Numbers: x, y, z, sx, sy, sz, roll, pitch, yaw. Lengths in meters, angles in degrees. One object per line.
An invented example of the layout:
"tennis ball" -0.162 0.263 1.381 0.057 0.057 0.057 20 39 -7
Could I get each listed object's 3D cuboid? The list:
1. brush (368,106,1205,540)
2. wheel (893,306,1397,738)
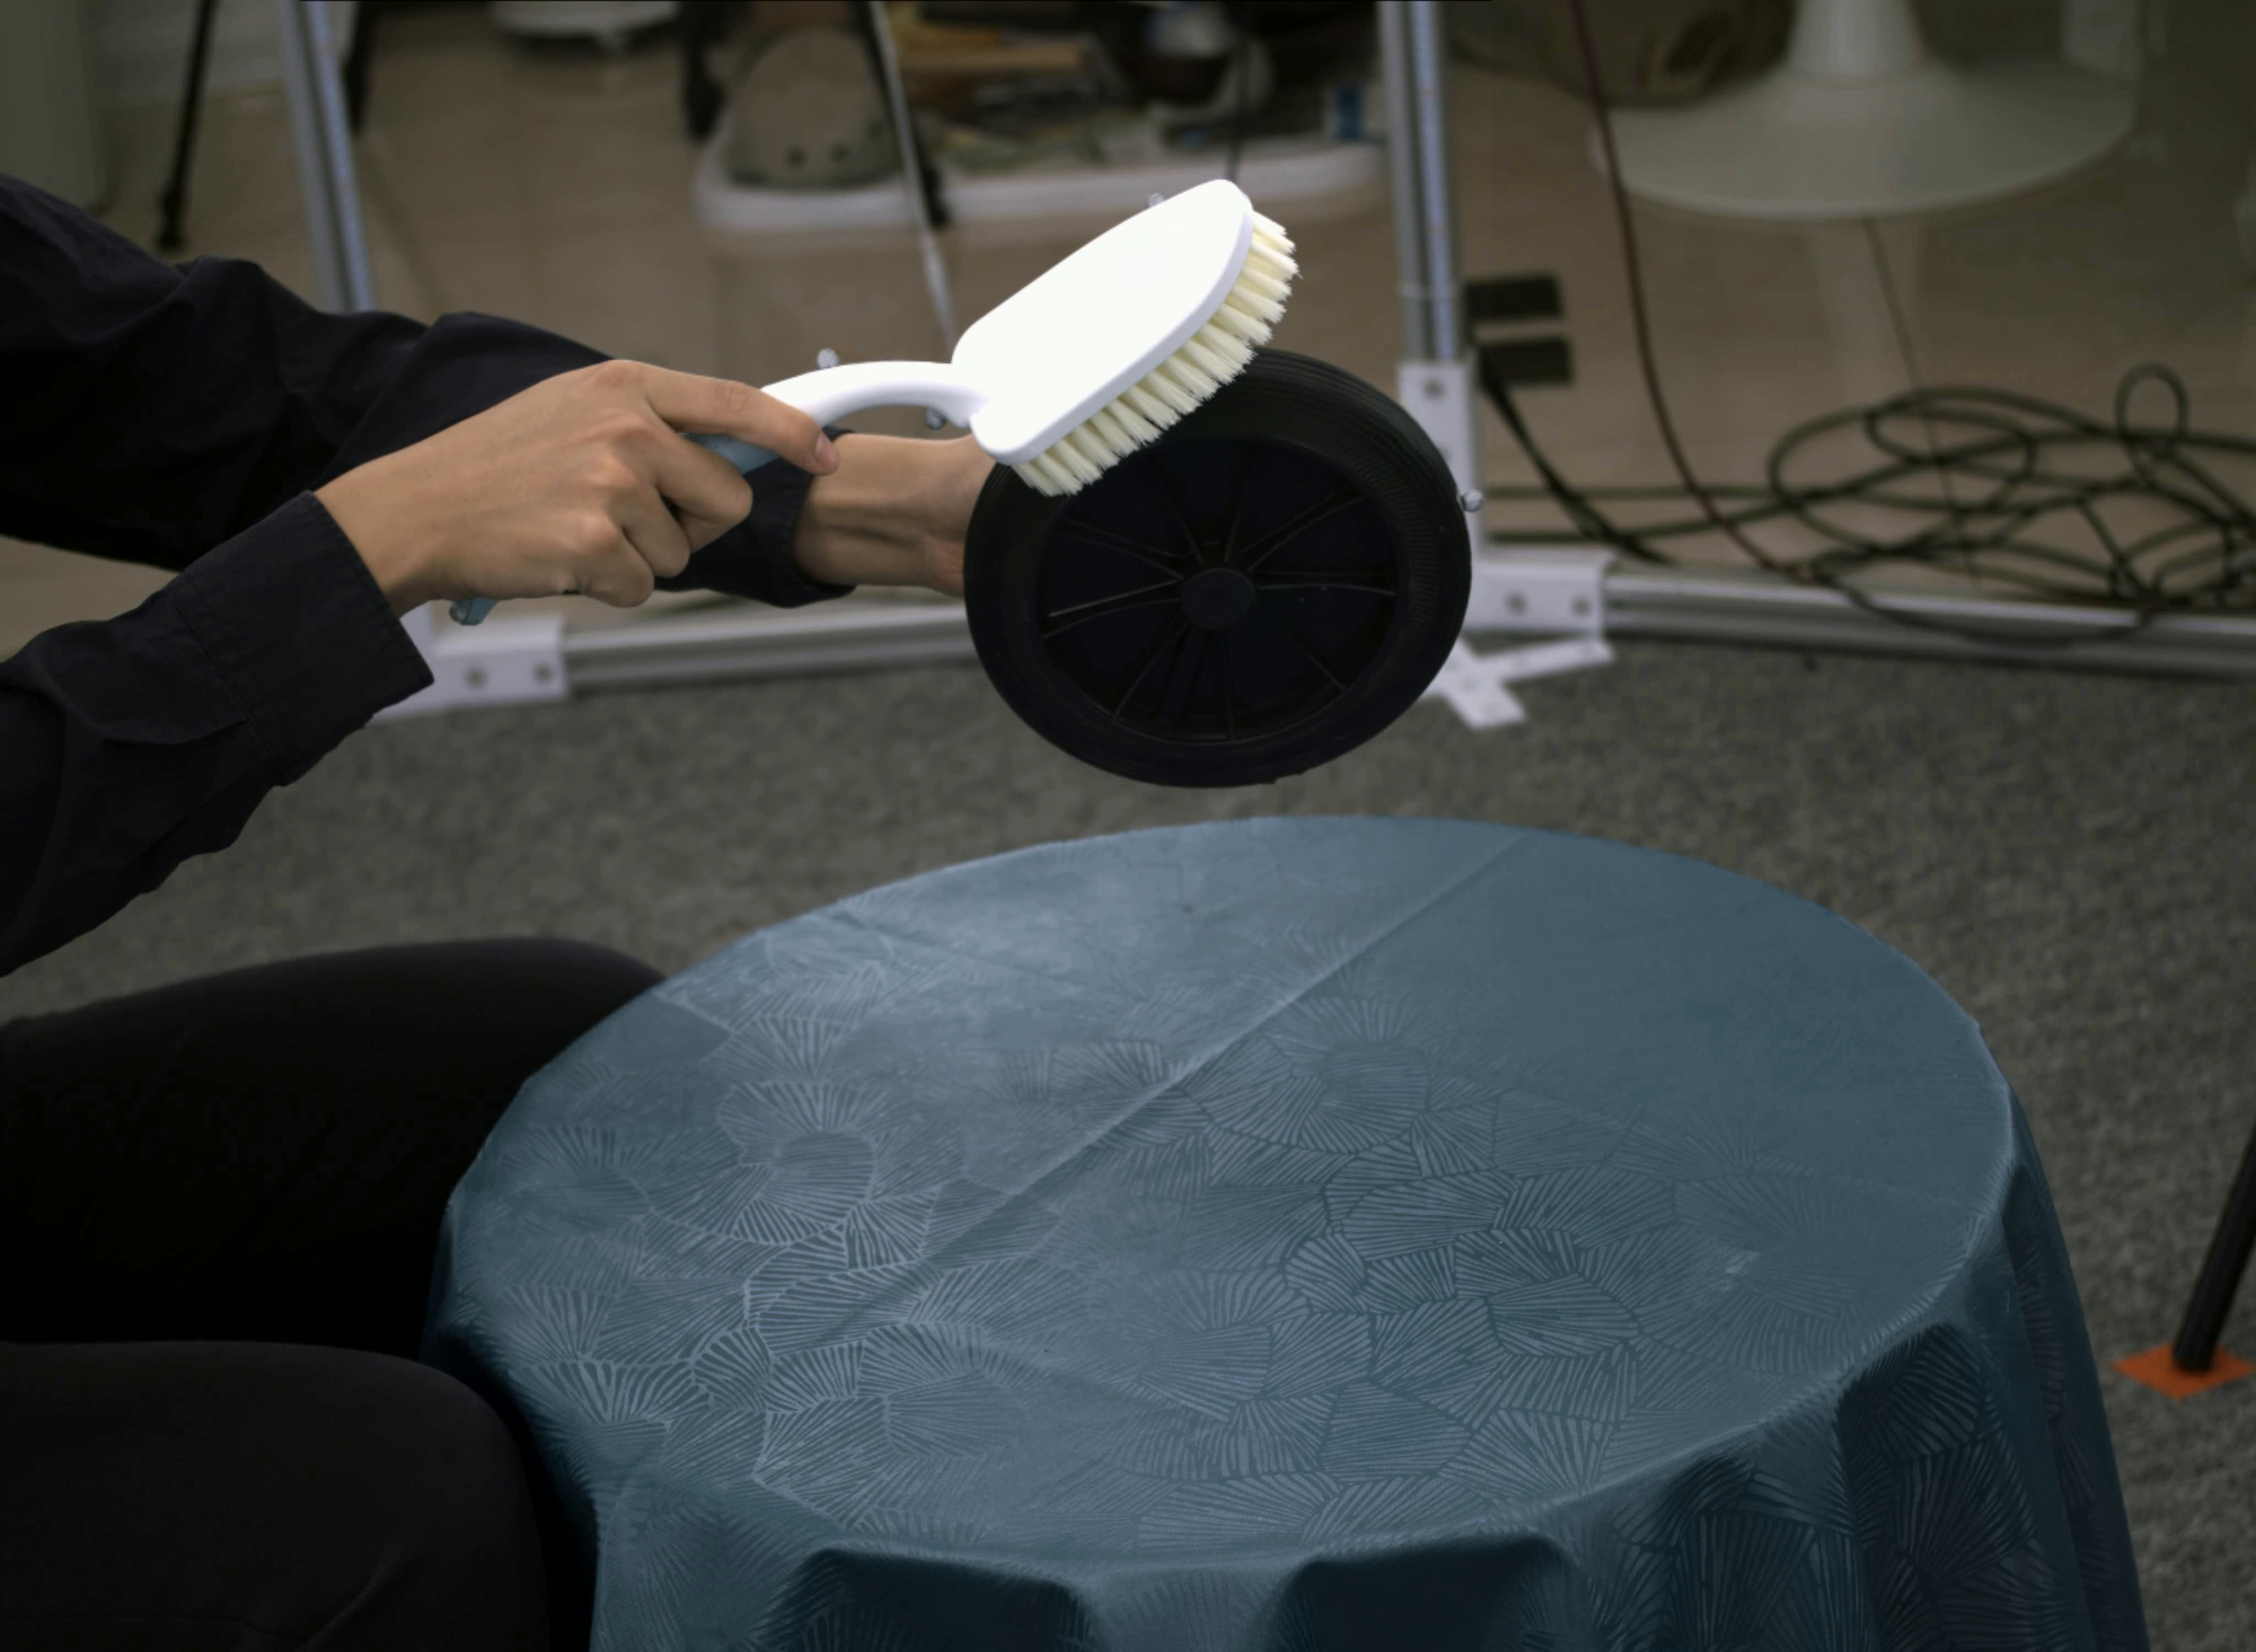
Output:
"brush" -0.119 -0.165 2.038 0.326 0.085 0.082 -25 12 7
"wheel" 0.005 -0.125 2.133 0.190 0.191 0.077 9 38 -14
